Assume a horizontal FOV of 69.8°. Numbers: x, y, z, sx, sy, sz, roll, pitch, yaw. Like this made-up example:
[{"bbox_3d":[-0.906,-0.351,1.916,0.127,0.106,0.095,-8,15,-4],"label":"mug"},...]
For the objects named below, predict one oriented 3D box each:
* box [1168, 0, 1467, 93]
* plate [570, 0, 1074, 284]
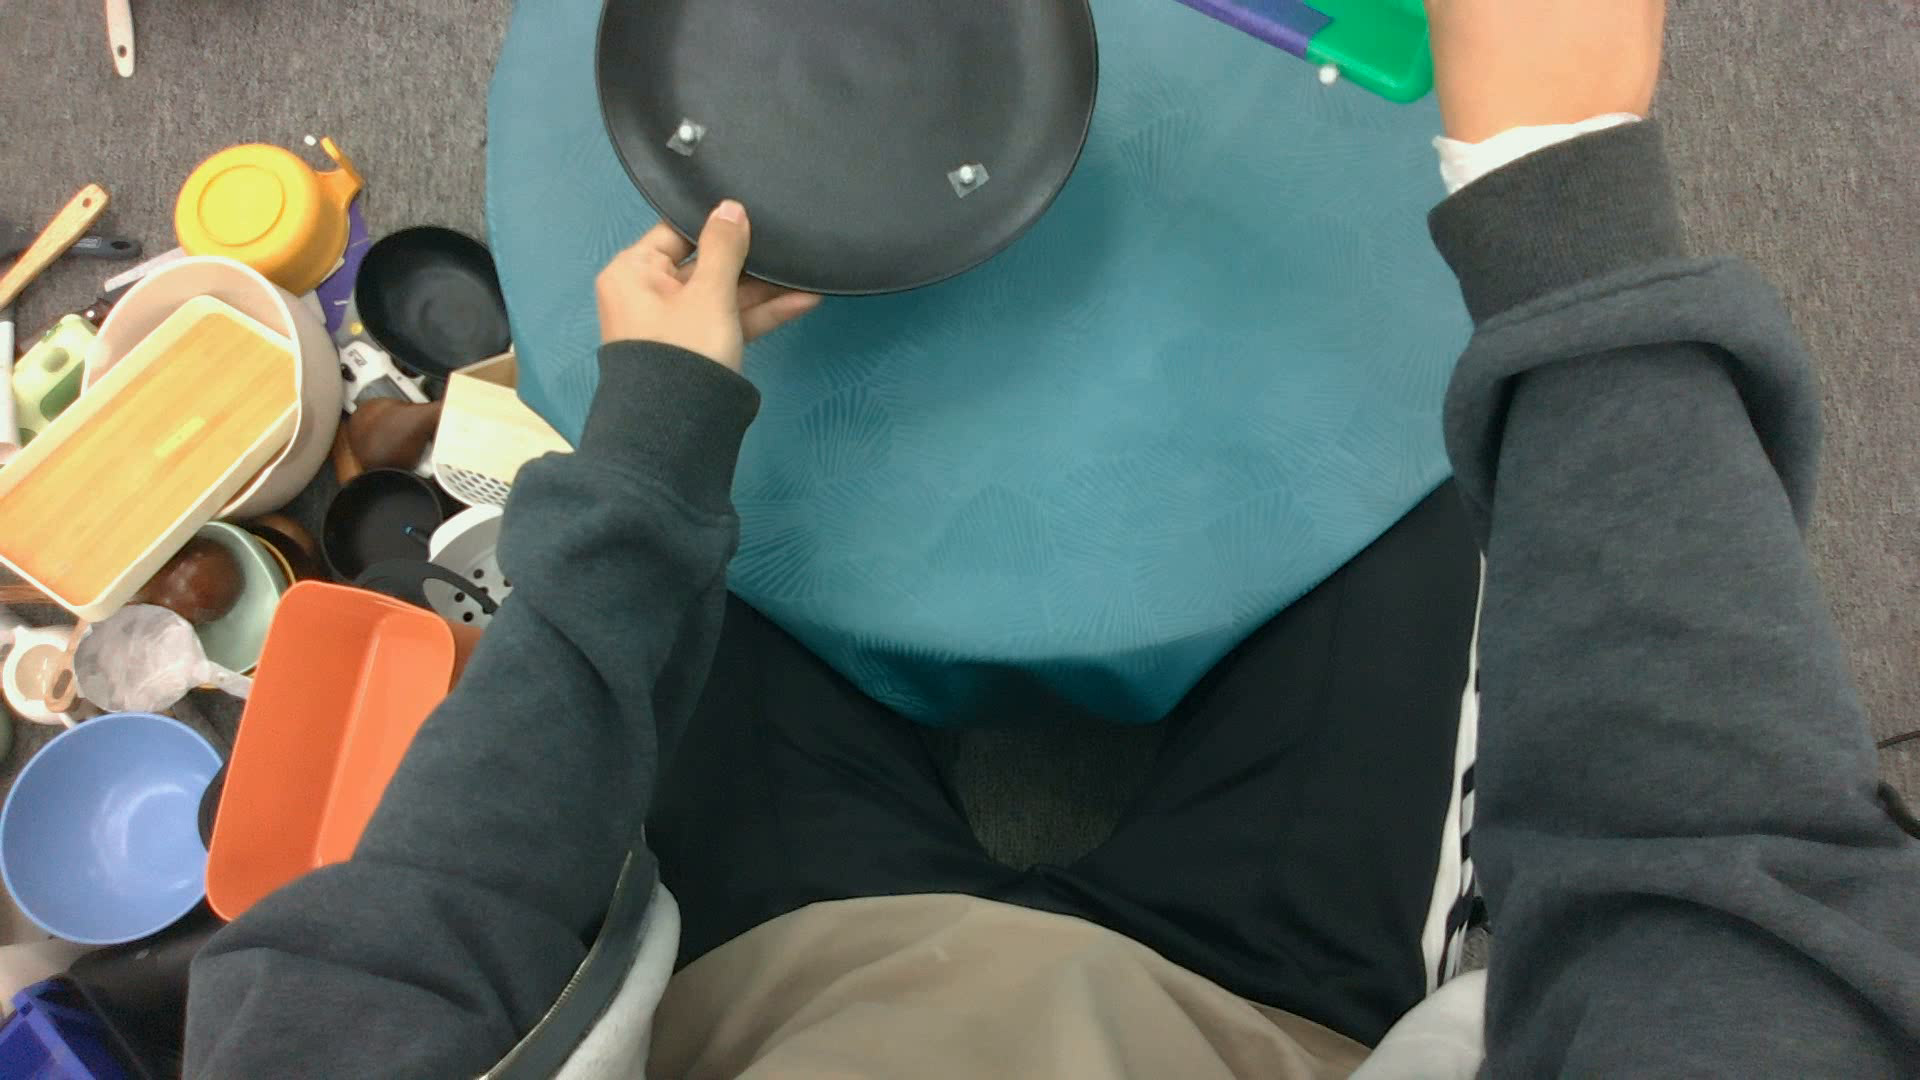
[{"bbox_3d":[0.127,-0.286,0.554,0.210,0.138,0.065,33,52,24],"label":"box"},{"bbox_3d":[-0.066,-0.236,0.679,0.244,0.023,0.245,1,77,-4],"label":"plate"}]
